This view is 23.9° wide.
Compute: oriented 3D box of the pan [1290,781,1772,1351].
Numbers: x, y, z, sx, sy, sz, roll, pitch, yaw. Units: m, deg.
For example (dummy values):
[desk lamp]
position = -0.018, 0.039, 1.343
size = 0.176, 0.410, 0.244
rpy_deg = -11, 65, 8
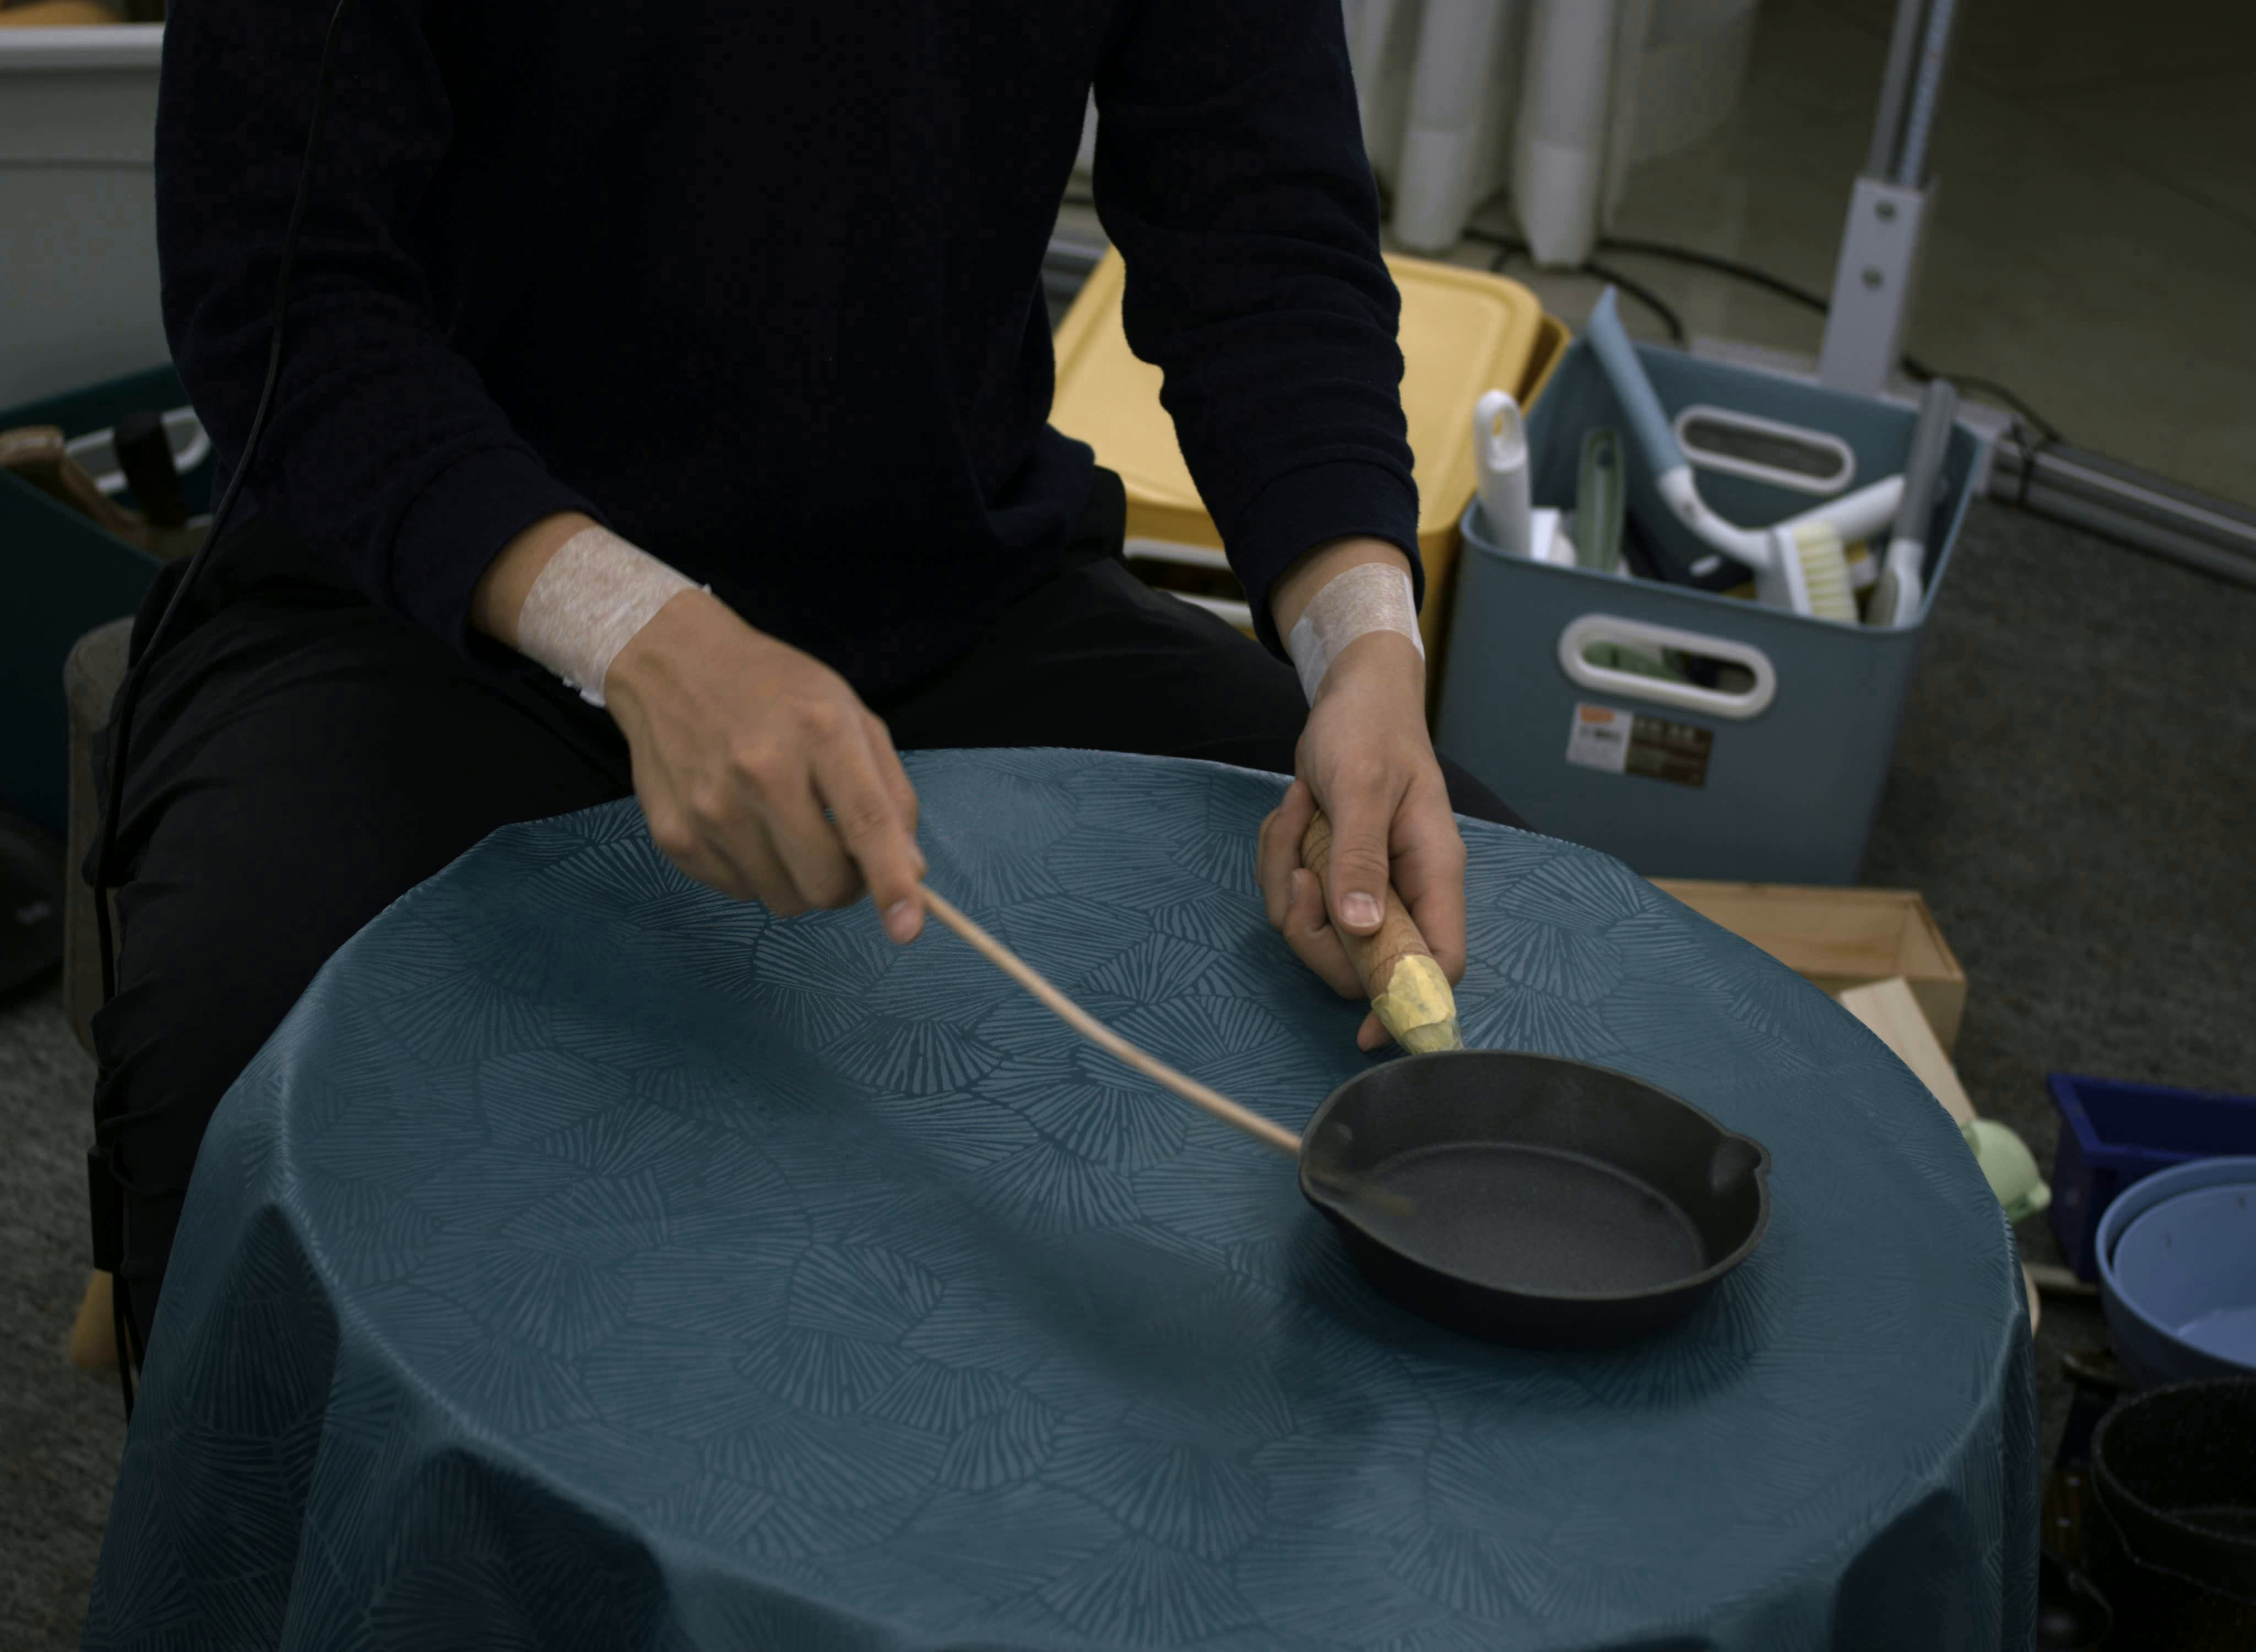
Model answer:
[pan]
position = 0.114, 0.081, 1.854
size = 0.168, 0.049, 0.327
rpy_deg = -2, 30, -16

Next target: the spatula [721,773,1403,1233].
[spatula]
position = -0.030, 0.054, 1.770
size = 0.330, 0.016, 0.079
rpy_deg = 34, -2, 39
